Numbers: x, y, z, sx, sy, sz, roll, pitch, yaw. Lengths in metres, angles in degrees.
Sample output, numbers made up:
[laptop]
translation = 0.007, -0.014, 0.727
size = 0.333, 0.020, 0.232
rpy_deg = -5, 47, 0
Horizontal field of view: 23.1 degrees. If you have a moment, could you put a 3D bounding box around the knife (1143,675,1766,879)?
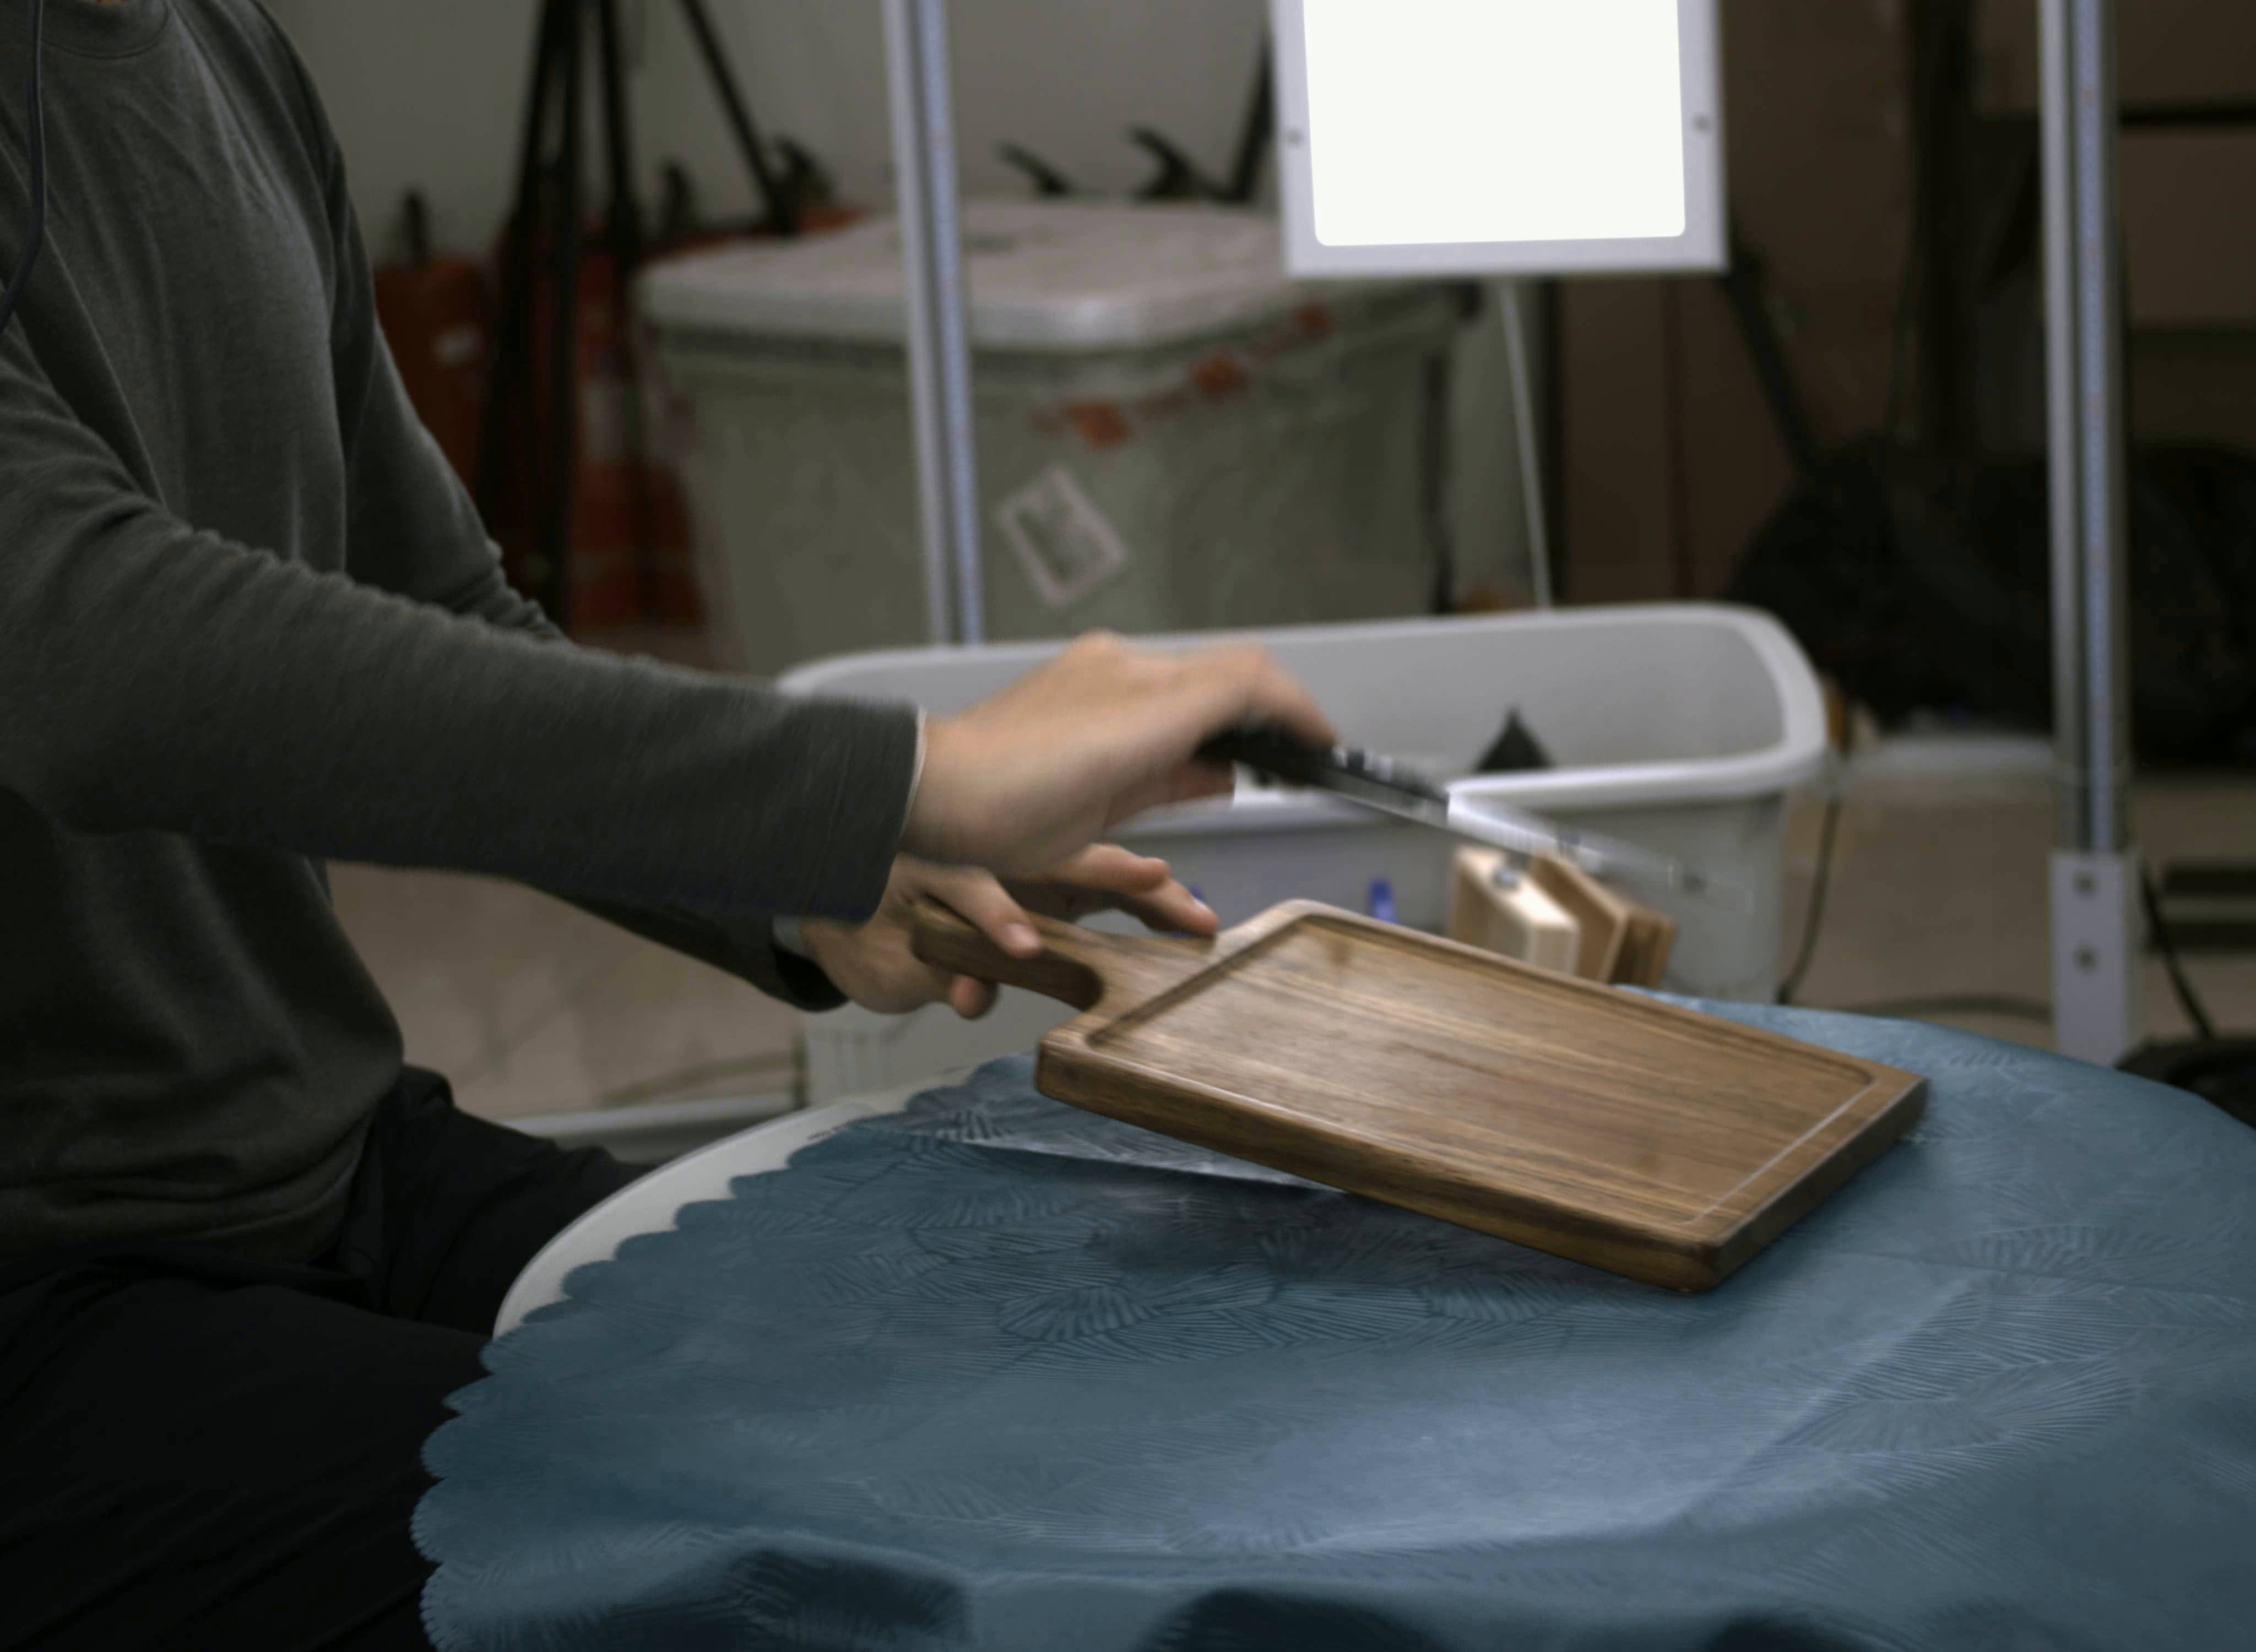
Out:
[knife]
translation = 0.098, -0.014, 1.732
size = 0.242, 0.016, 0.024
rpy_deg = 17, 23, 36

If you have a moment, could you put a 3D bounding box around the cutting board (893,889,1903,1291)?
[cutting board]
translation = 0.074, 0.075, 1.895
size = 0.357, 0.023, 0.196
rpy_deg = 15, 21, 26
